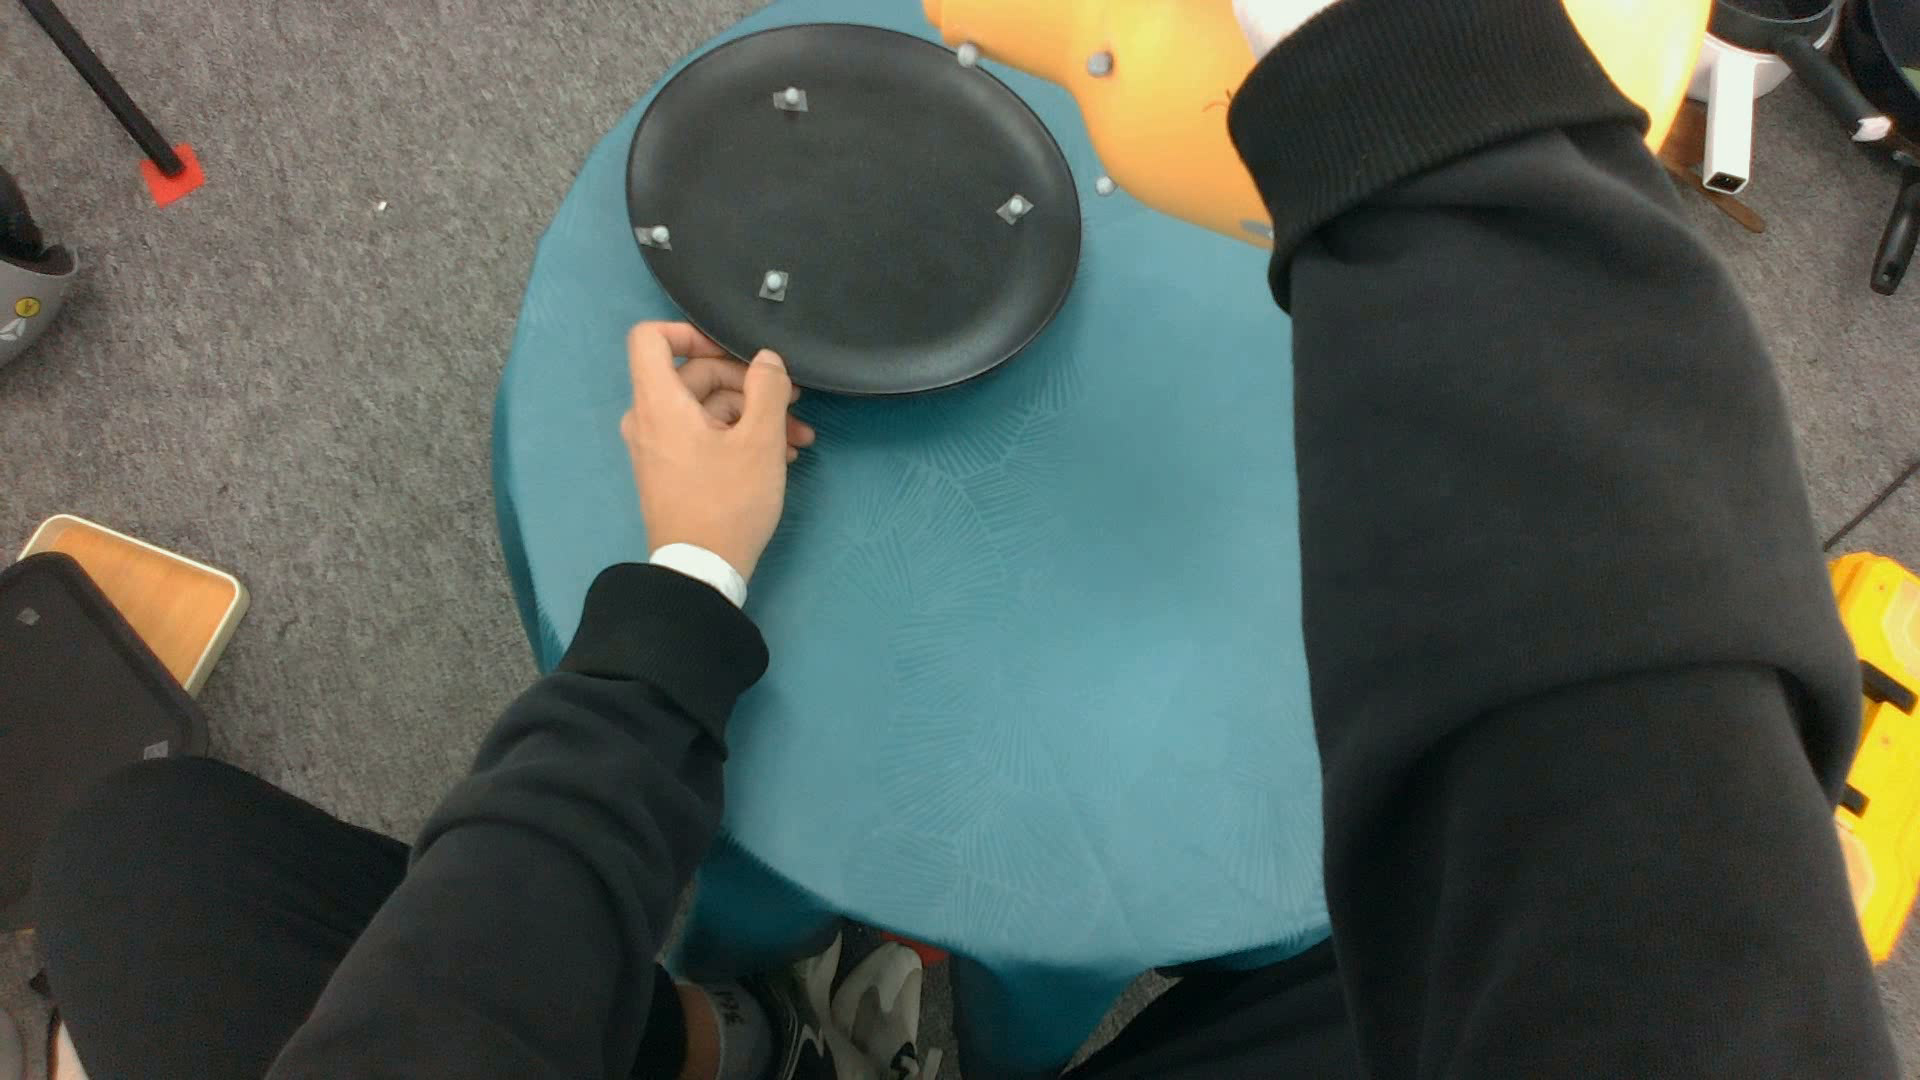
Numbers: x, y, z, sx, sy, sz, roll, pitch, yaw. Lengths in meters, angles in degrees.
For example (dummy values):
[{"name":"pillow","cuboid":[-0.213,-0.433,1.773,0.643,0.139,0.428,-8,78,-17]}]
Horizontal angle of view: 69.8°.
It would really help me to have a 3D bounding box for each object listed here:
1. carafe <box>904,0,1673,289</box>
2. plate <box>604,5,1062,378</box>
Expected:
[{"name":"carafe","cuboid":[0.109,-0.202,0.489,0.260,0.202,0.163,17,86,2]},{"name":"plate","cuboid":[-0.065,-0.187,0.738,0.244,0.023,0.245,5,64,-10]}]
